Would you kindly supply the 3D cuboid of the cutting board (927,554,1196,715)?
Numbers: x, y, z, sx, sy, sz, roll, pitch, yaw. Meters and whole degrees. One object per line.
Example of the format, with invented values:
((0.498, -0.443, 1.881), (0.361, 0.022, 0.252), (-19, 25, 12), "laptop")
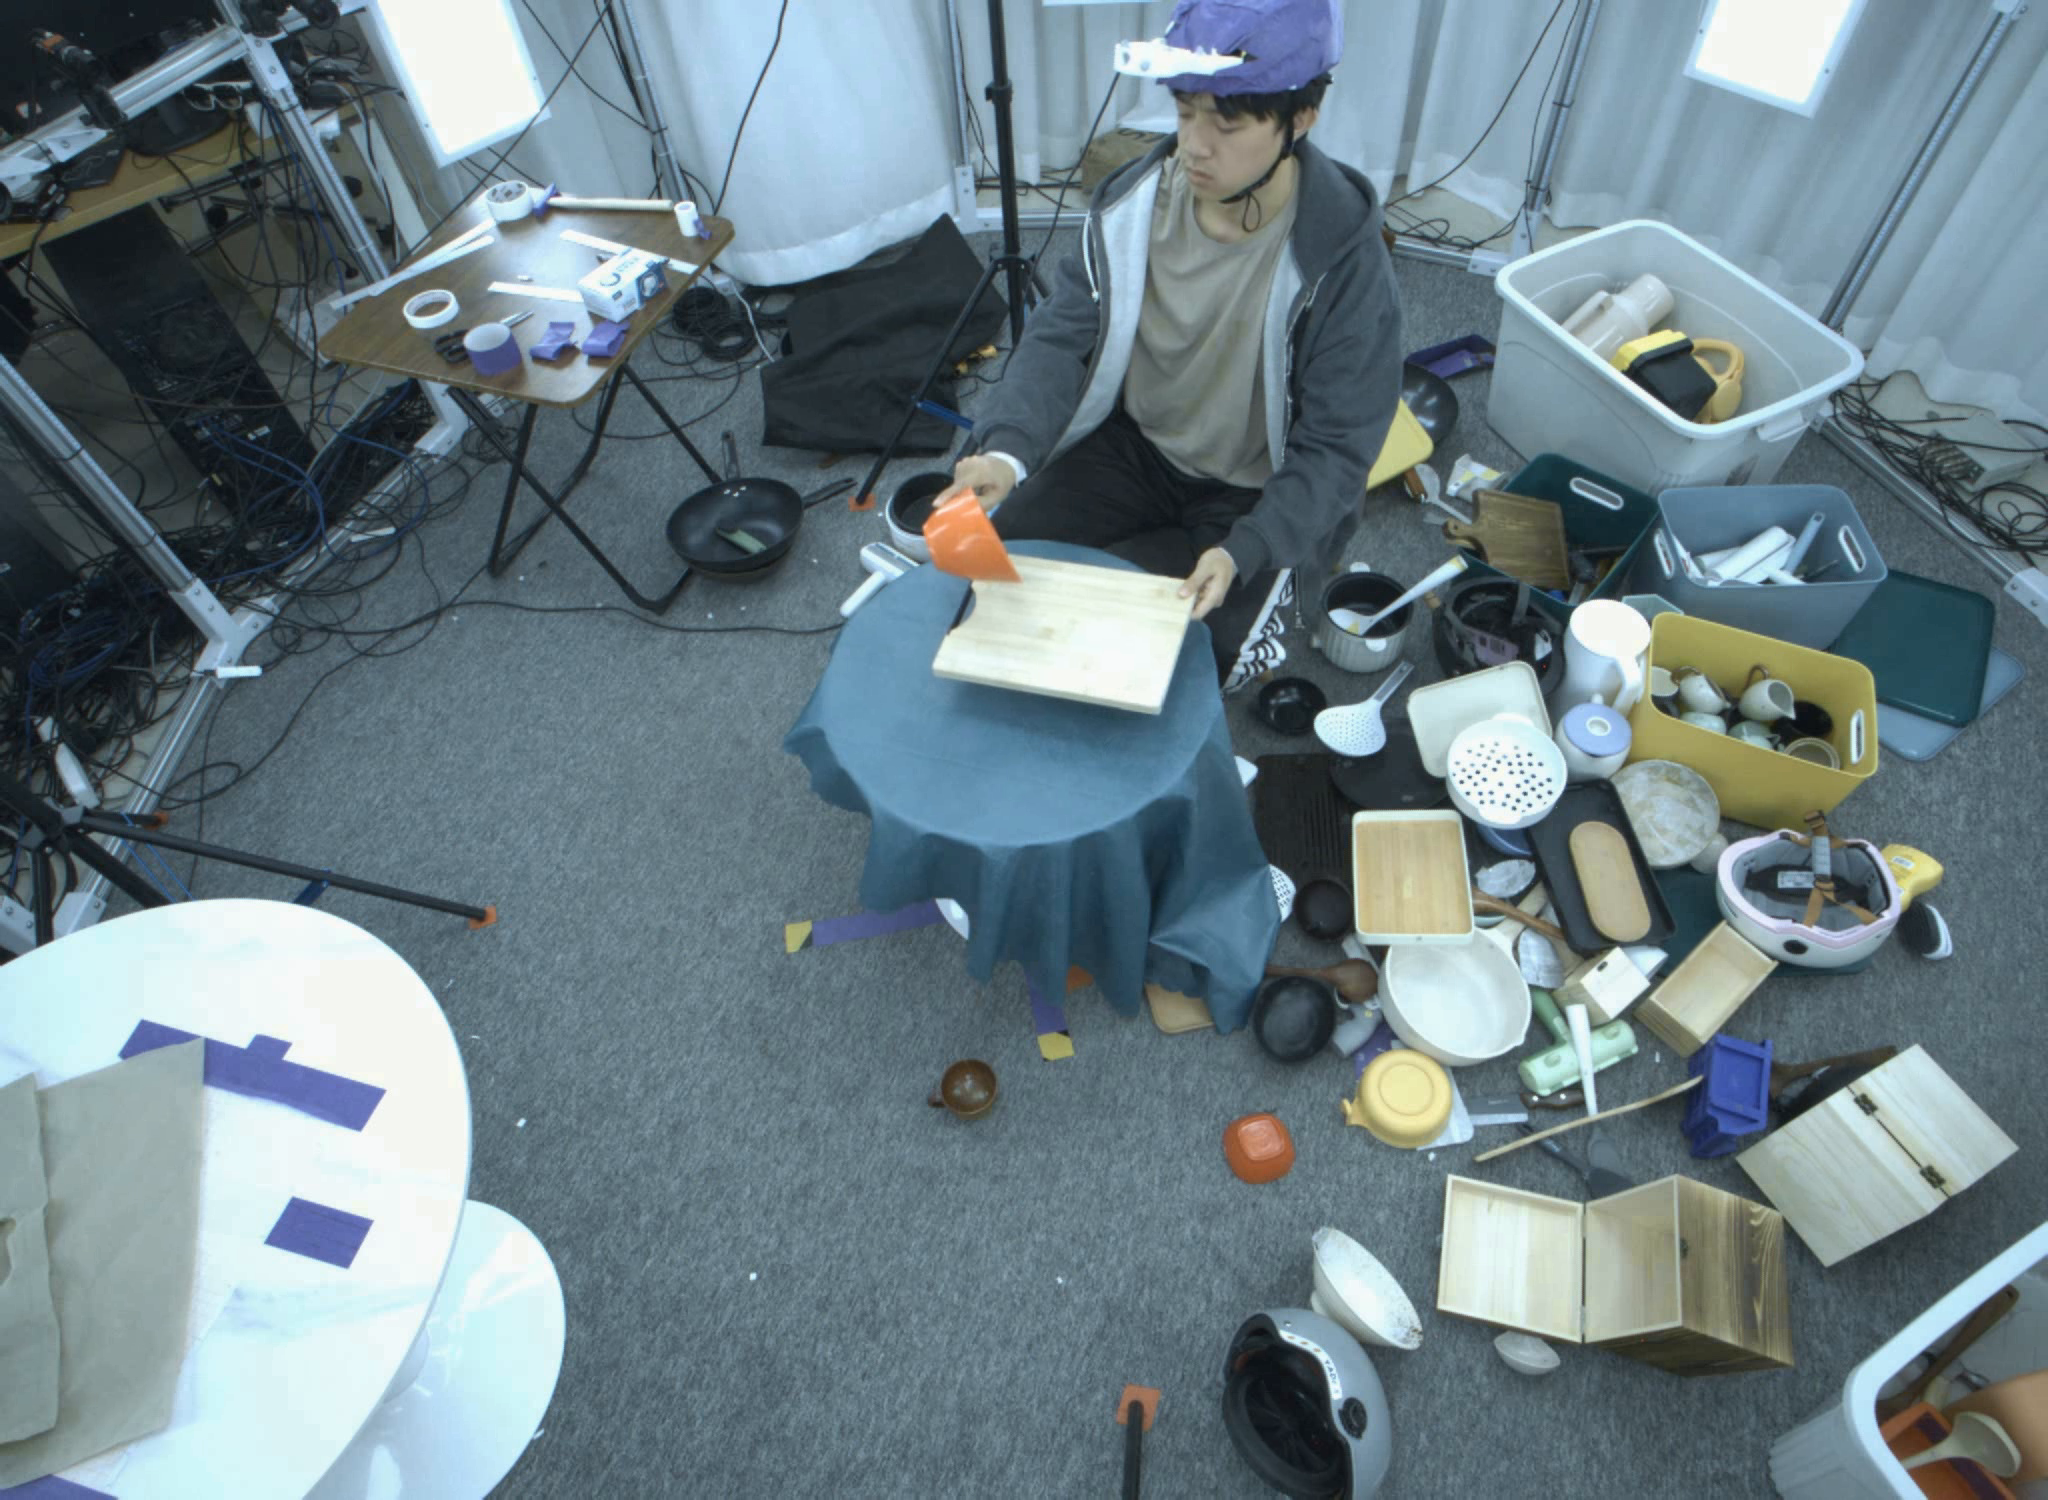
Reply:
((0.057, -0.180, 1.810), (0.345, 0.024, 0.250), (11, 57, 13), "cutting board")

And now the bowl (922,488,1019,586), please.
((-0.080, -0.282, 1.687), (0.104, 0.150, 0.146), (-17, 55, 5), "bowl")
